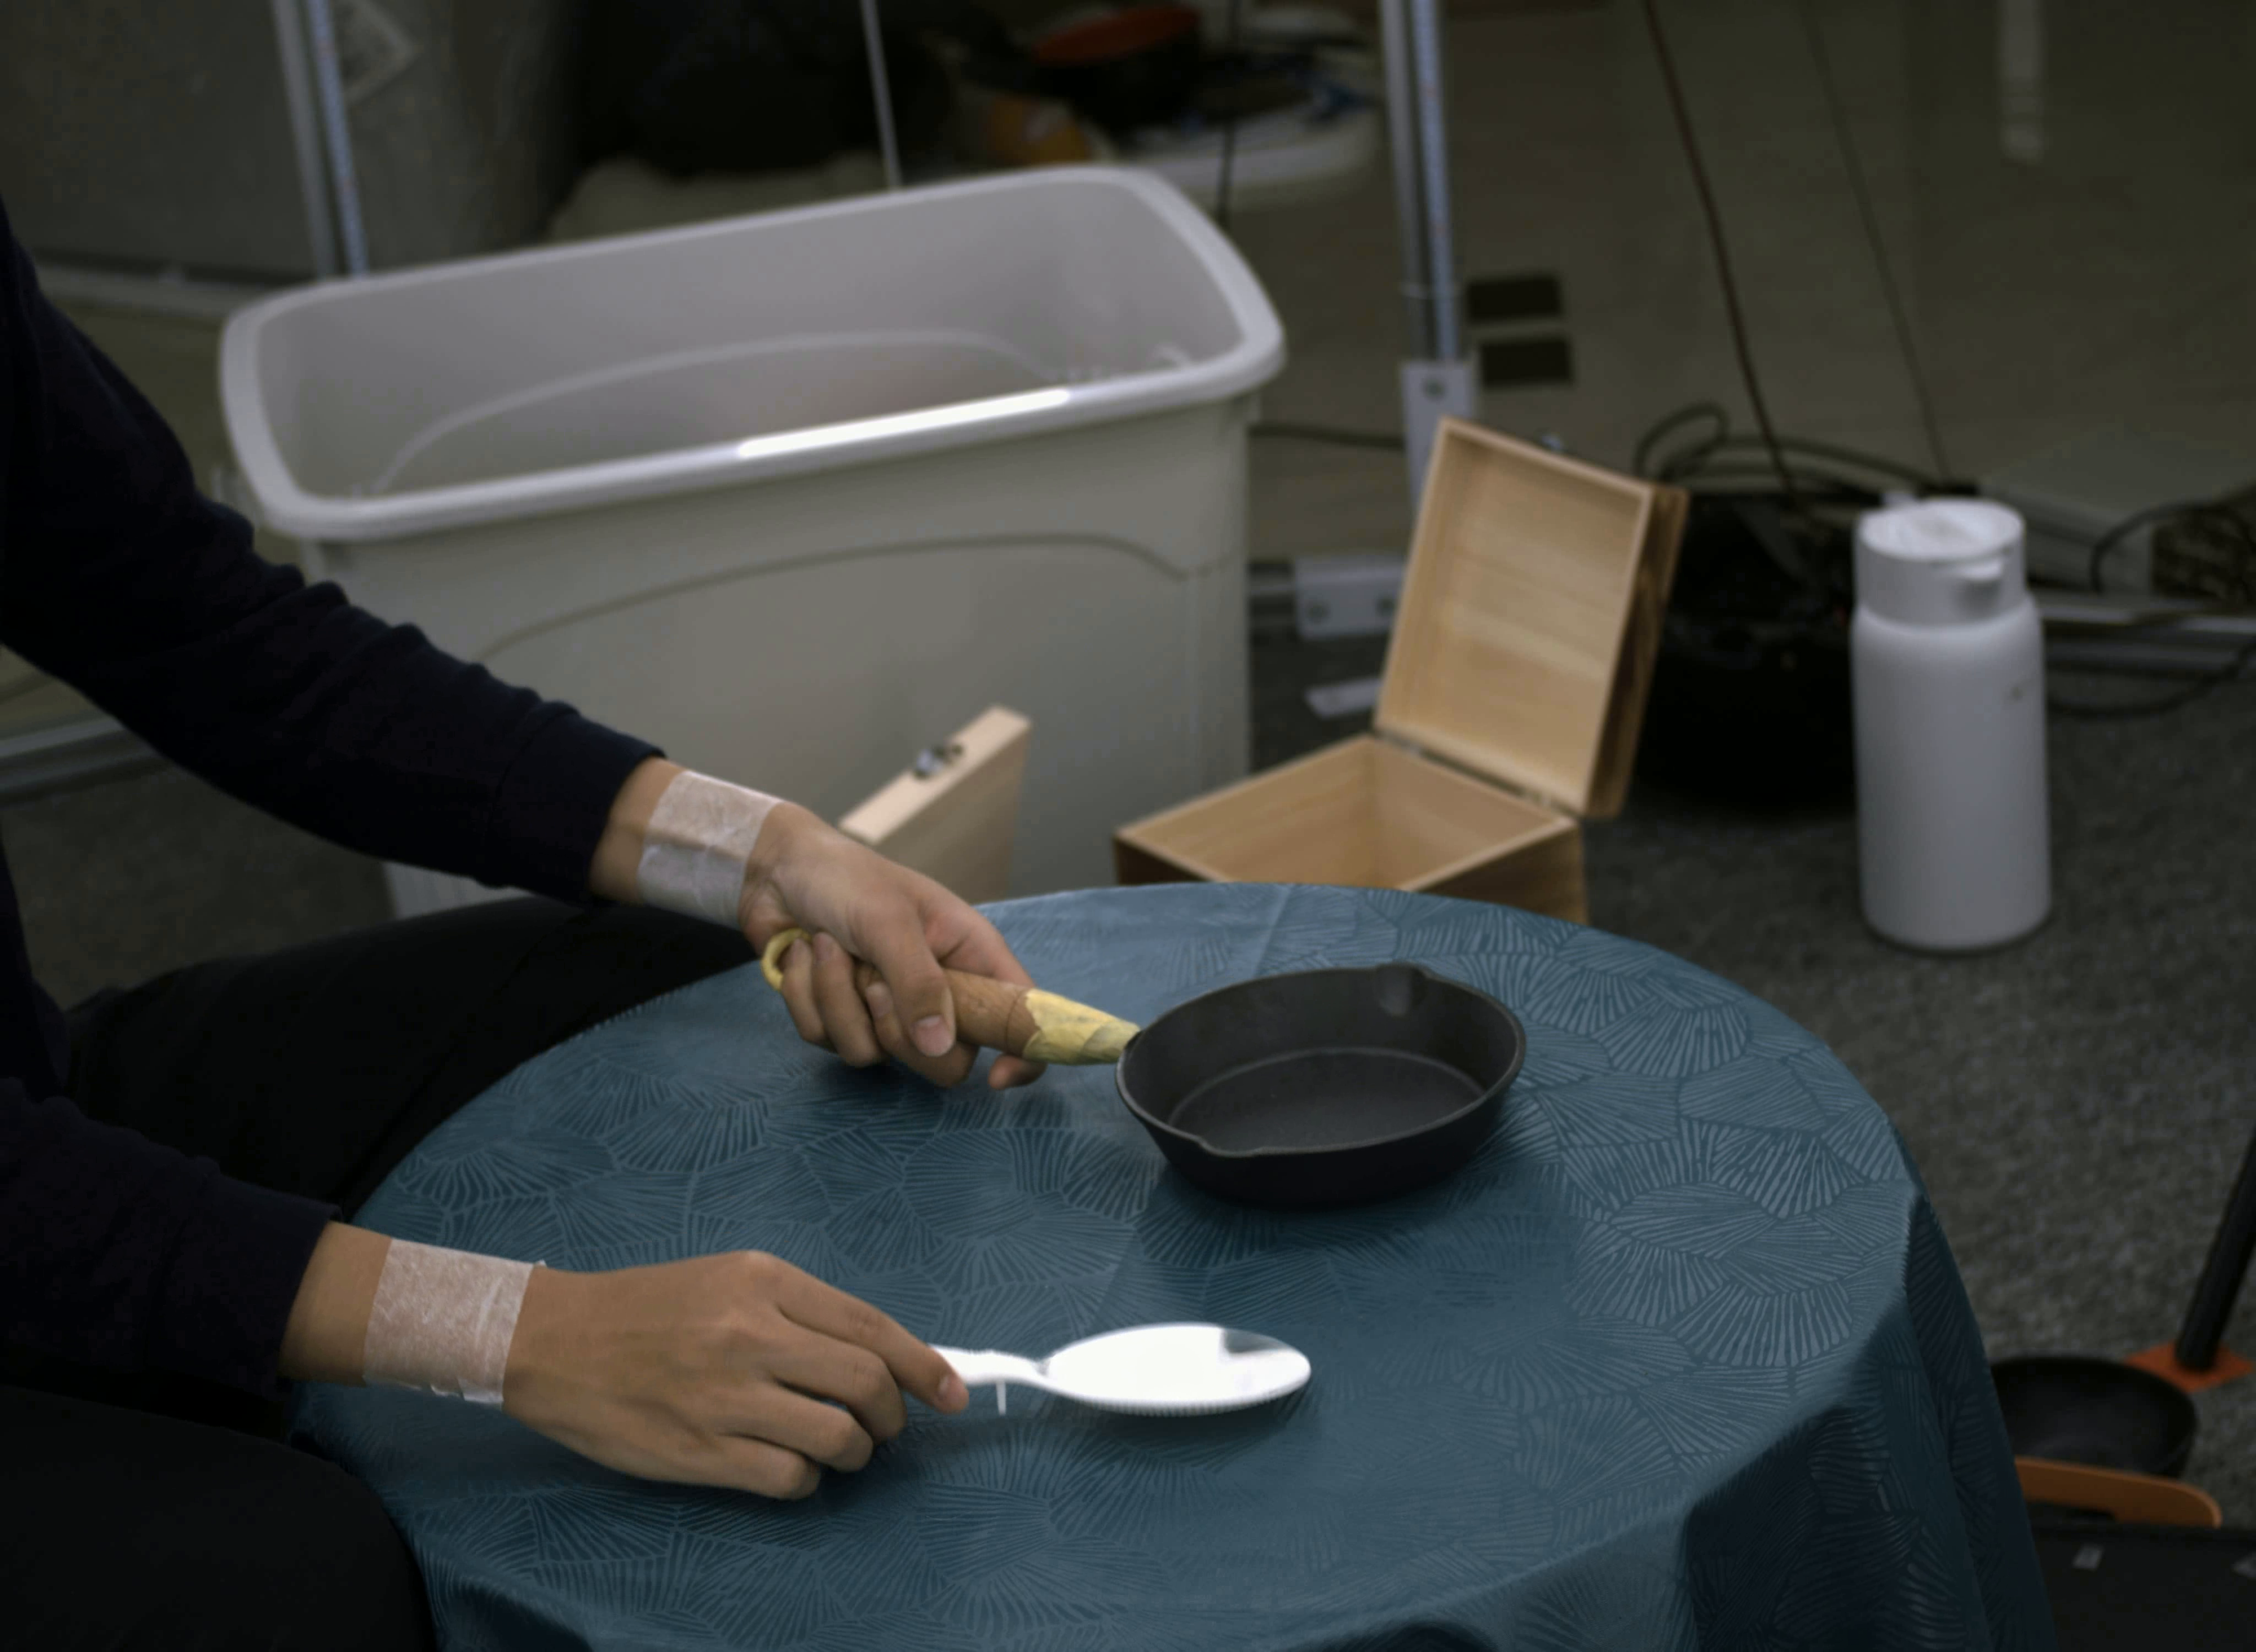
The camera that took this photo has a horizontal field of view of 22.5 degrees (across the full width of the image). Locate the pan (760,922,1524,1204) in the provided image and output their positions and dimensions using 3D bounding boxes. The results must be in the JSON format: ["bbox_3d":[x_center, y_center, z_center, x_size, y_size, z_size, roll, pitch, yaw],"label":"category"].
[{"bbox_3d":[-0.001,0.083,2.199,0.323,0.050,0.167,9,28,28],"label":"pan"}]

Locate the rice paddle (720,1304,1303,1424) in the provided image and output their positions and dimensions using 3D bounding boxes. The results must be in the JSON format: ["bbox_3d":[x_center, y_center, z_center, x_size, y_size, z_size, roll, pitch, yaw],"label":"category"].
[{"bbox_3d":[-0.040,0.187,1.999,0.205,0.030,0.068,-4,20,-2],"label":"rice paddle"}]
